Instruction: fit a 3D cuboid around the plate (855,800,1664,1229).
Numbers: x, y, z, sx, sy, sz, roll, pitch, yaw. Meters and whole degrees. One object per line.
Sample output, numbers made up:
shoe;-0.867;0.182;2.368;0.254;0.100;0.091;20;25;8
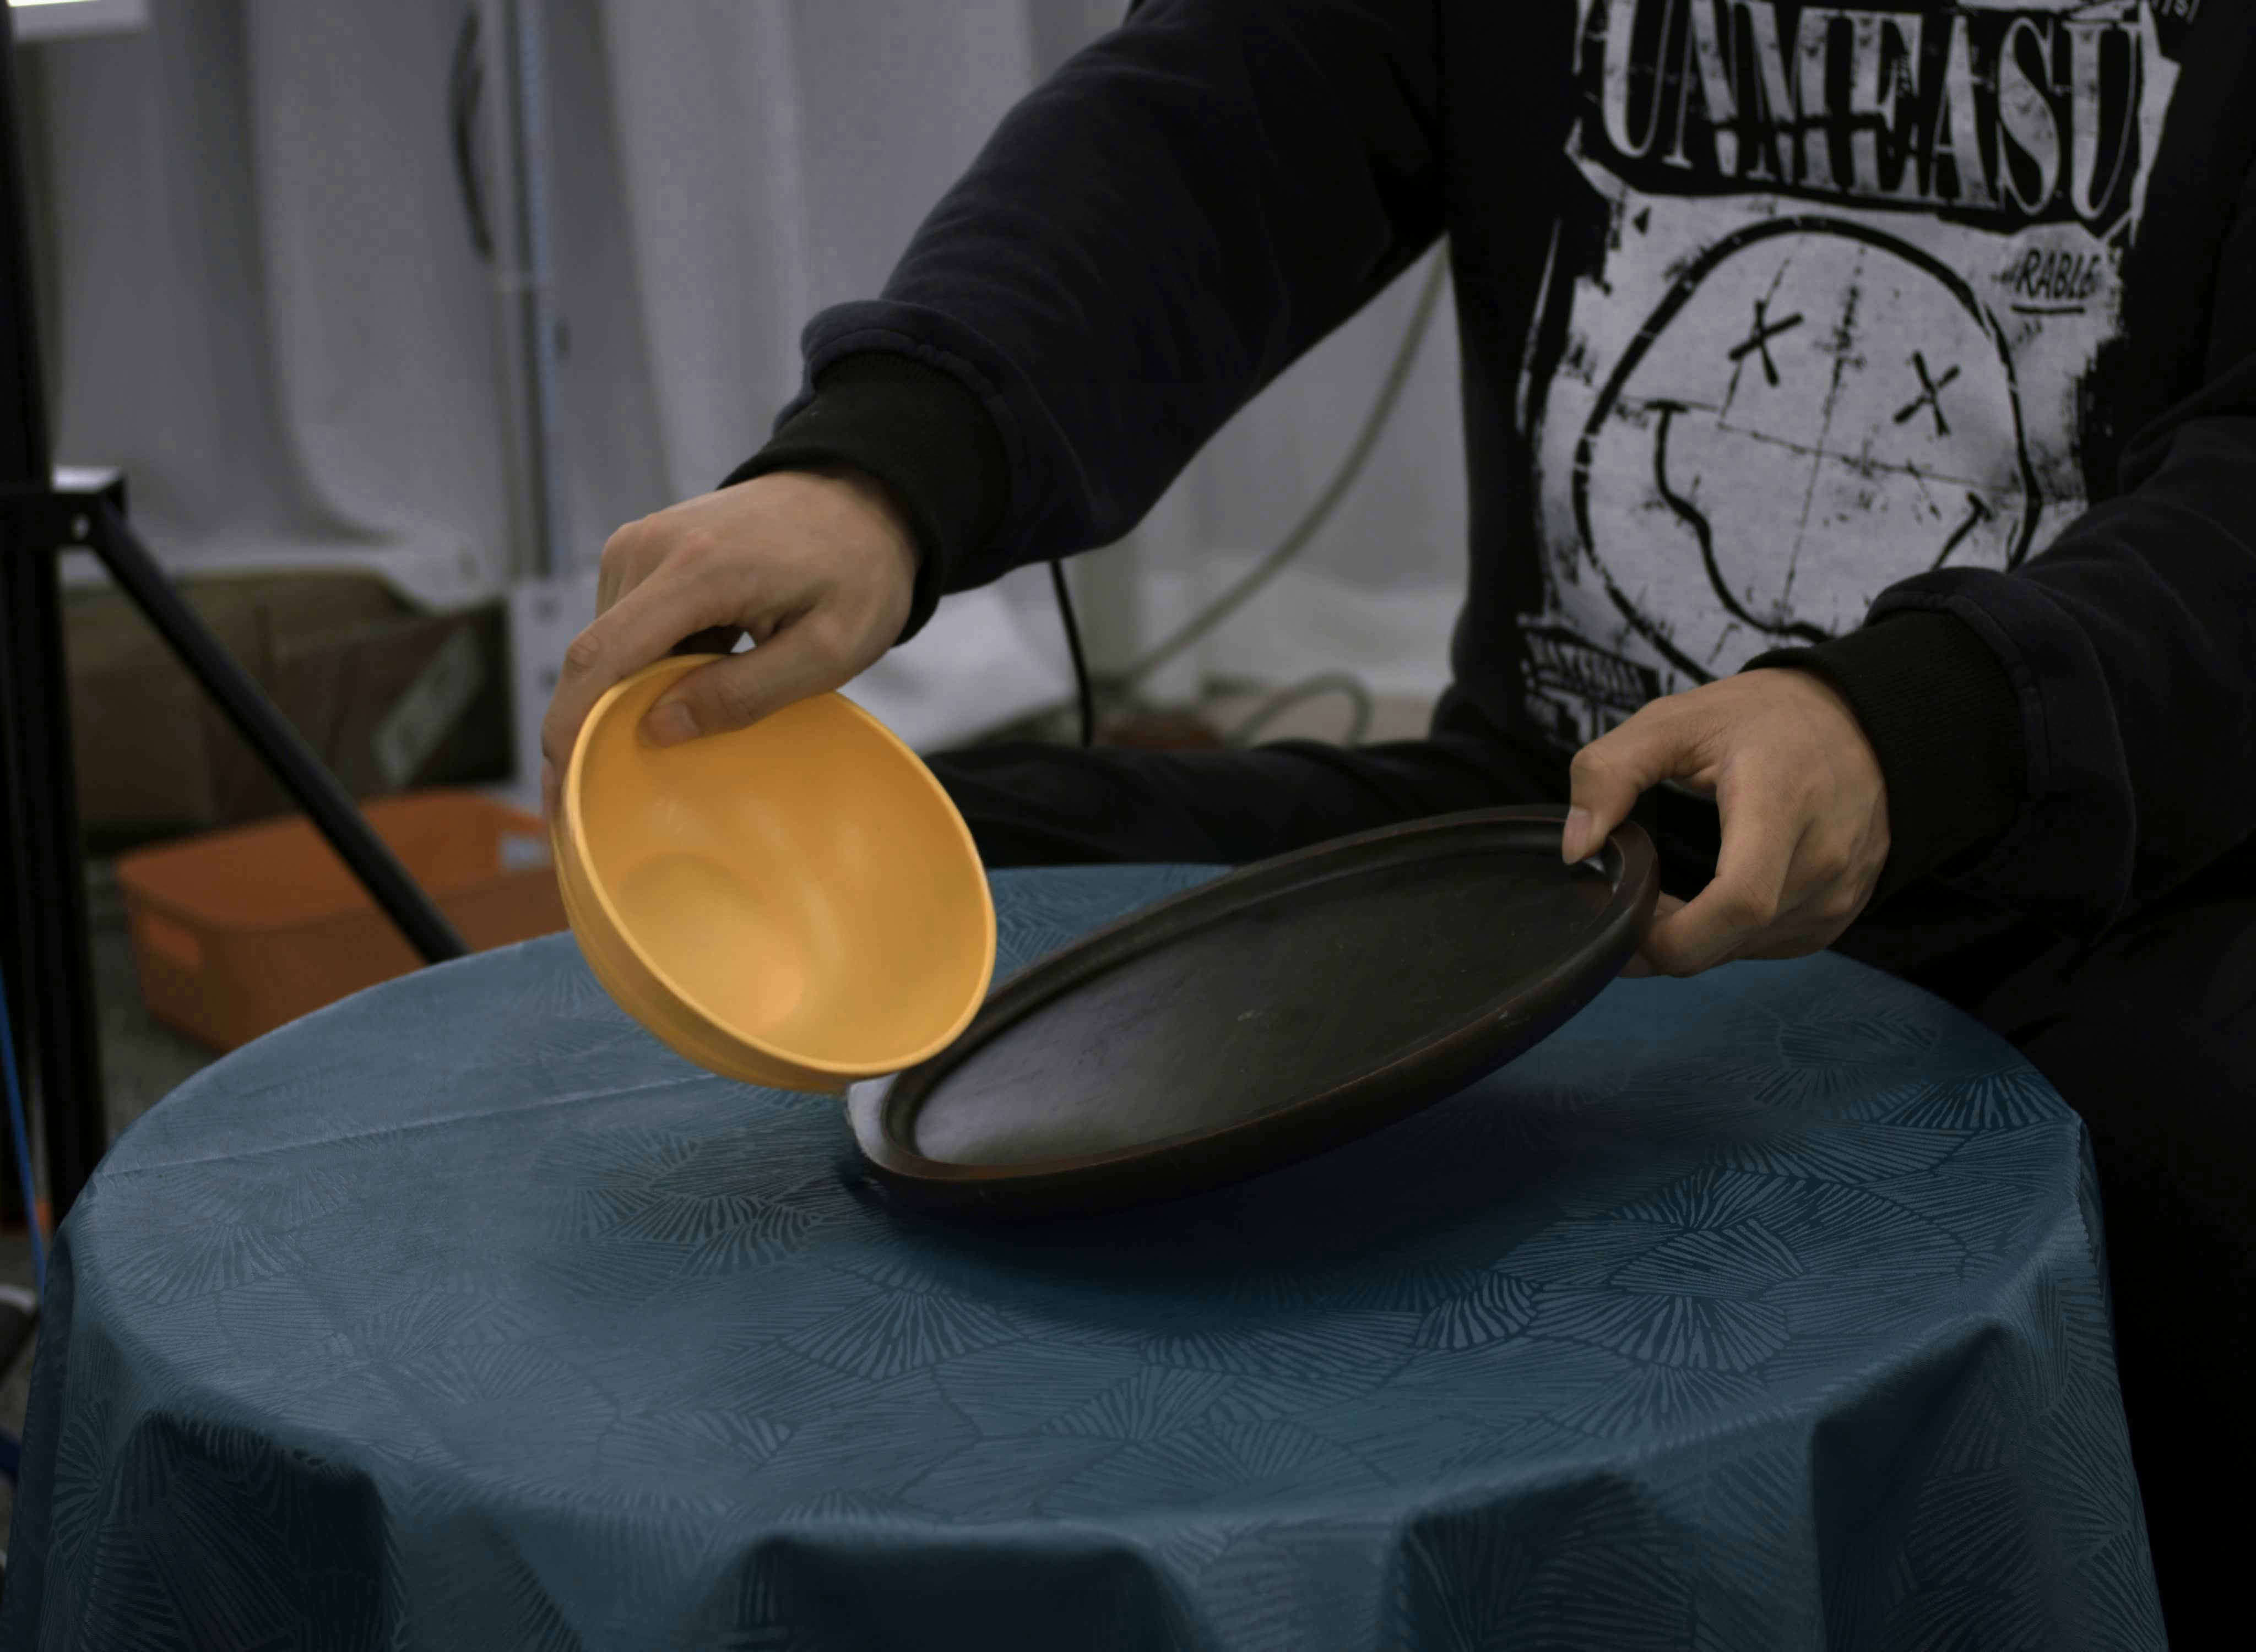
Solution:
plate;0.040;0.055;1.569;0.254;0.029;0.256;-21;13;3

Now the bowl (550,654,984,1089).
bowl;-0.117;0.025;1.586;0.142;0.147;0.061;-20;-20;-48
